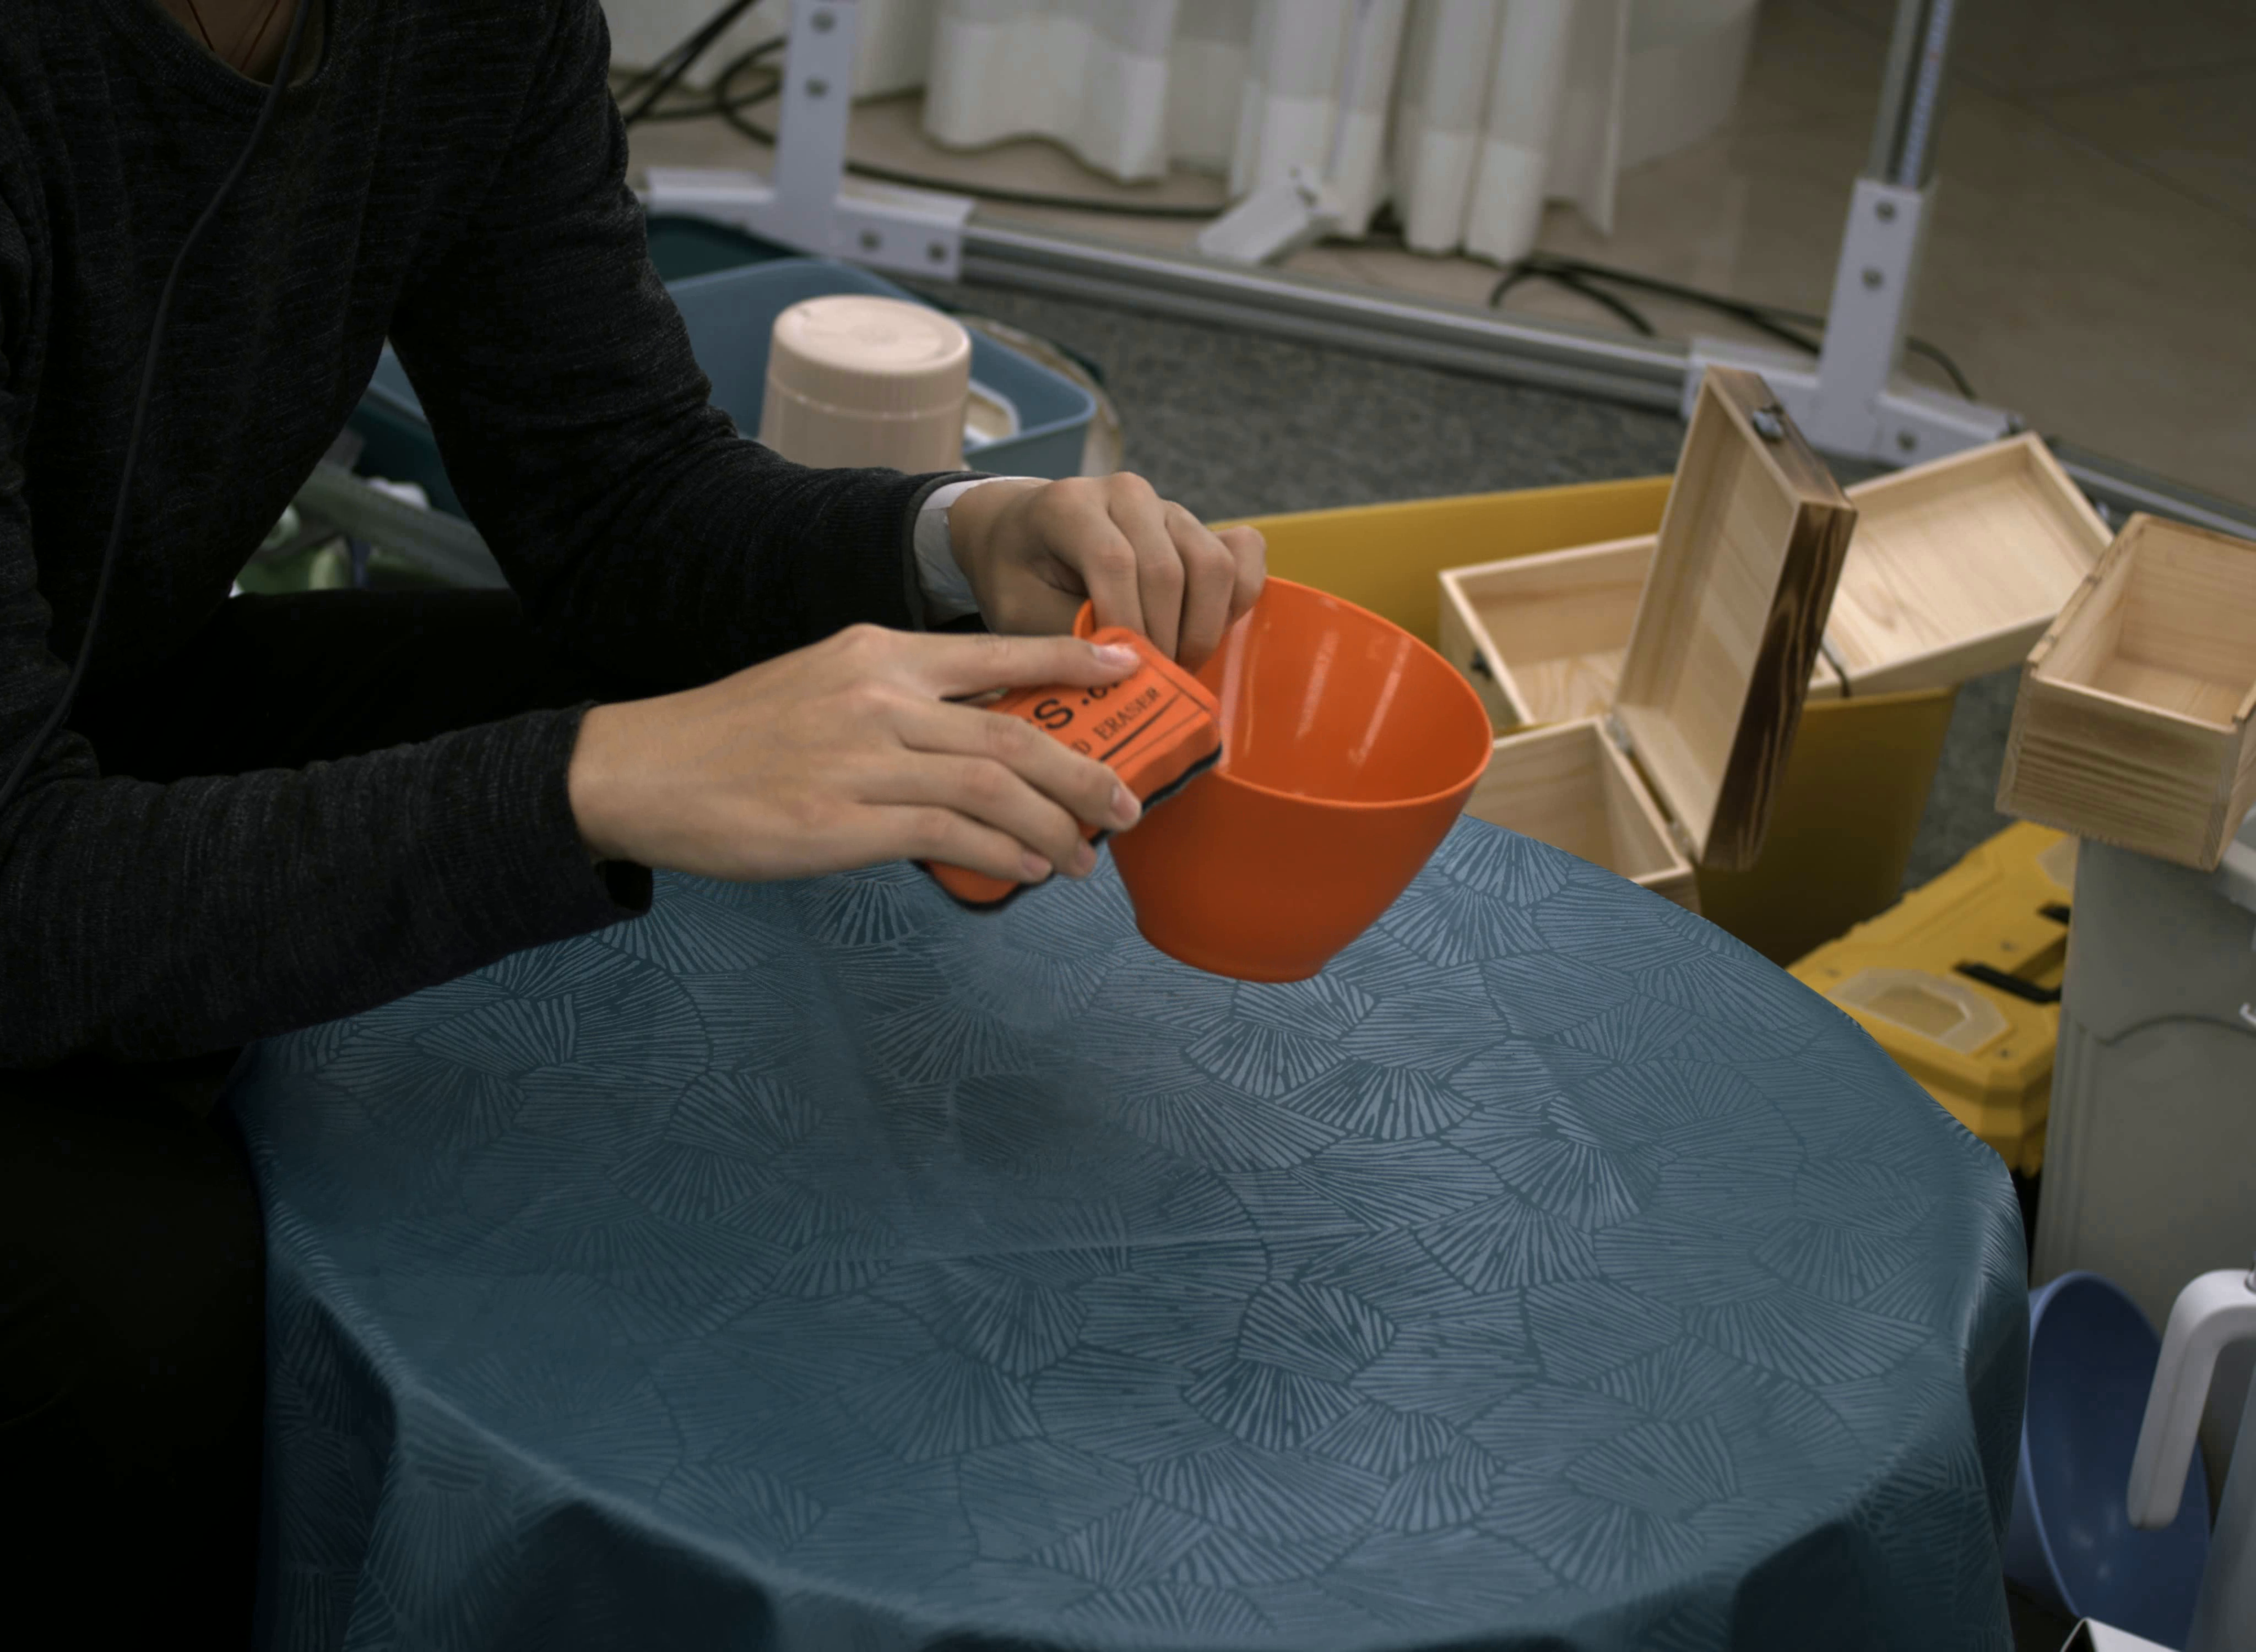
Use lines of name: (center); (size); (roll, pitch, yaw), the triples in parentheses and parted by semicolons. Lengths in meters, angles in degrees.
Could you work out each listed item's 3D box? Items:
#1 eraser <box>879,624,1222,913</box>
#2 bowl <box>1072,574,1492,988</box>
eraser: (-0.025, -0.019, 1.707); (0.108, 0.023, 0.059); (-34, 55, -25)
bowl: (0.043, -0.010, 1.802); (0.147, 0.104, 0.149); (13, 19, -5)
